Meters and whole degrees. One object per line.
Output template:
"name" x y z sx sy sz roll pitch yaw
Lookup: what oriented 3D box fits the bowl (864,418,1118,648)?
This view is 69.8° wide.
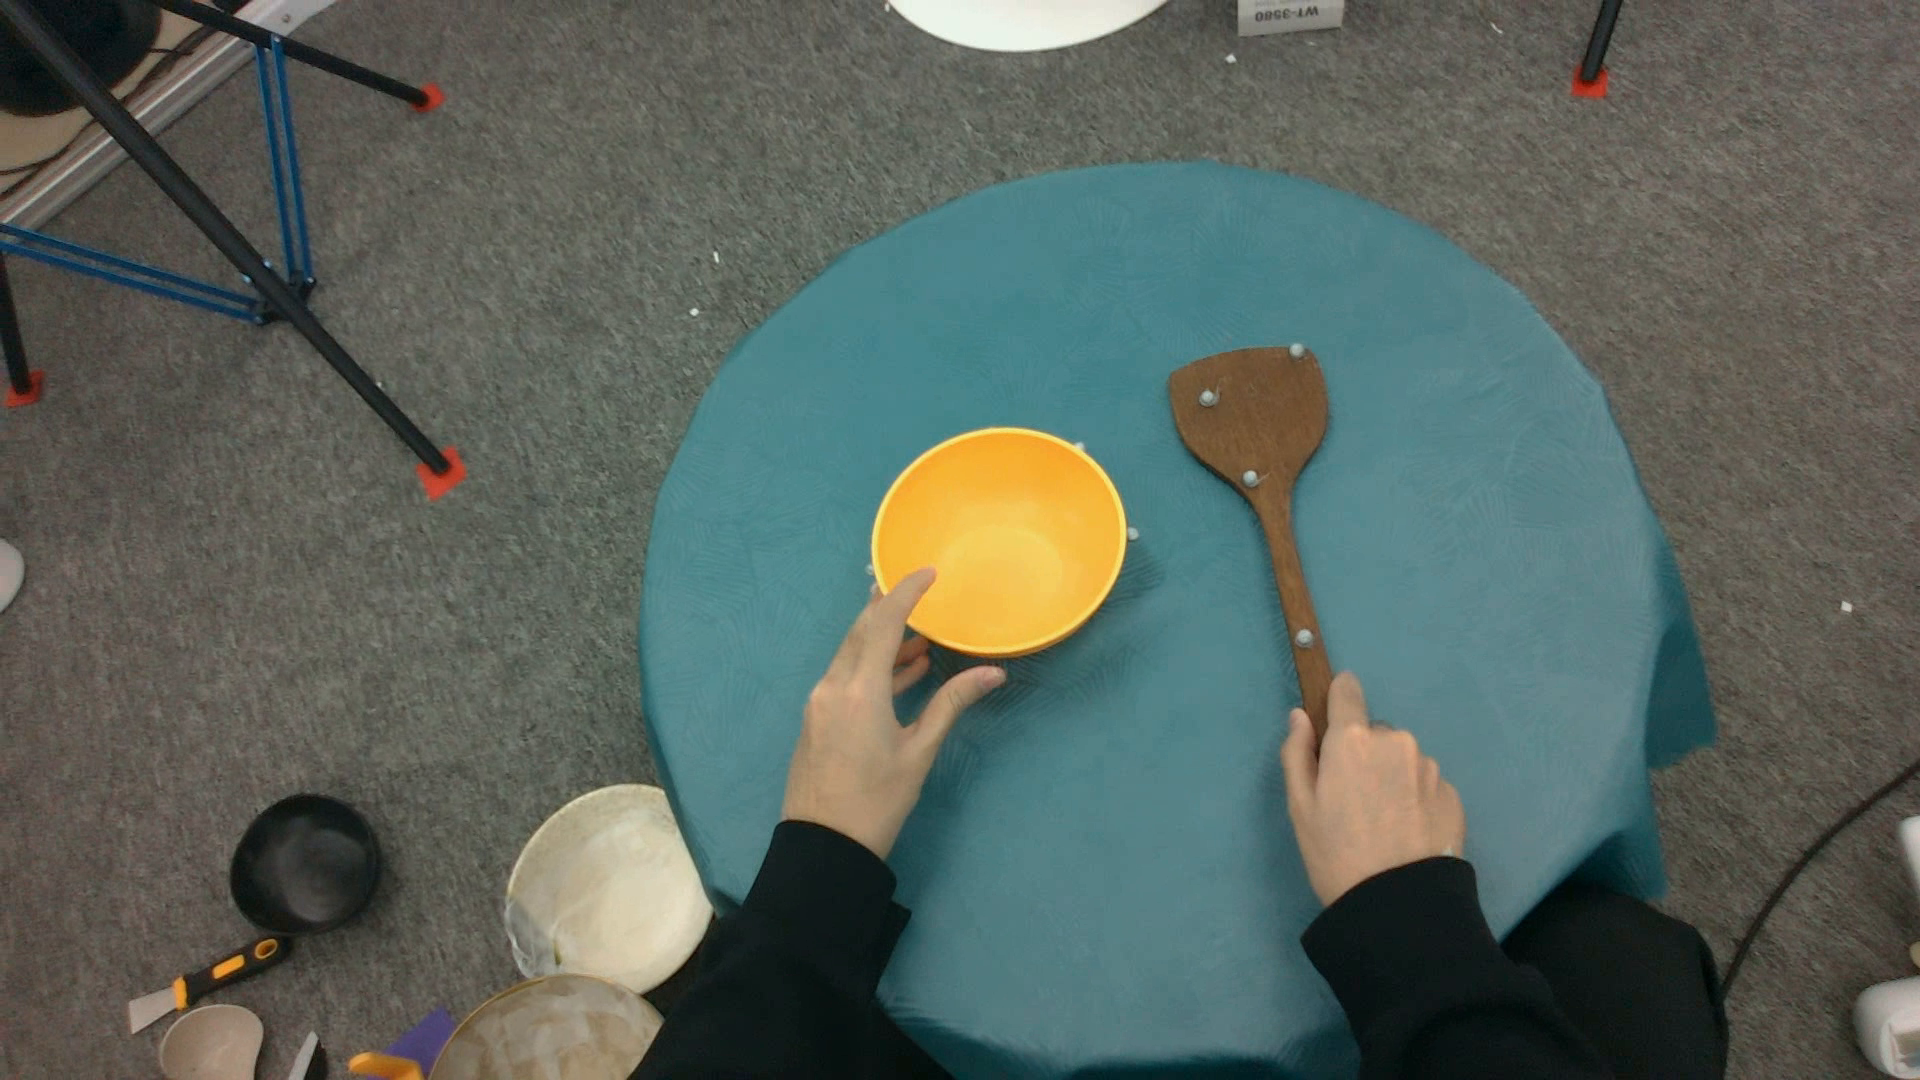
"bowl" 0.021 0.005 0.797 0.145 0.060 0.146 -5 62 9

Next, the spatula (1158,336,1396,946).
"spatula" 0.184 0.033 0.766 0.096 0.016 0.387 -9 55 5
